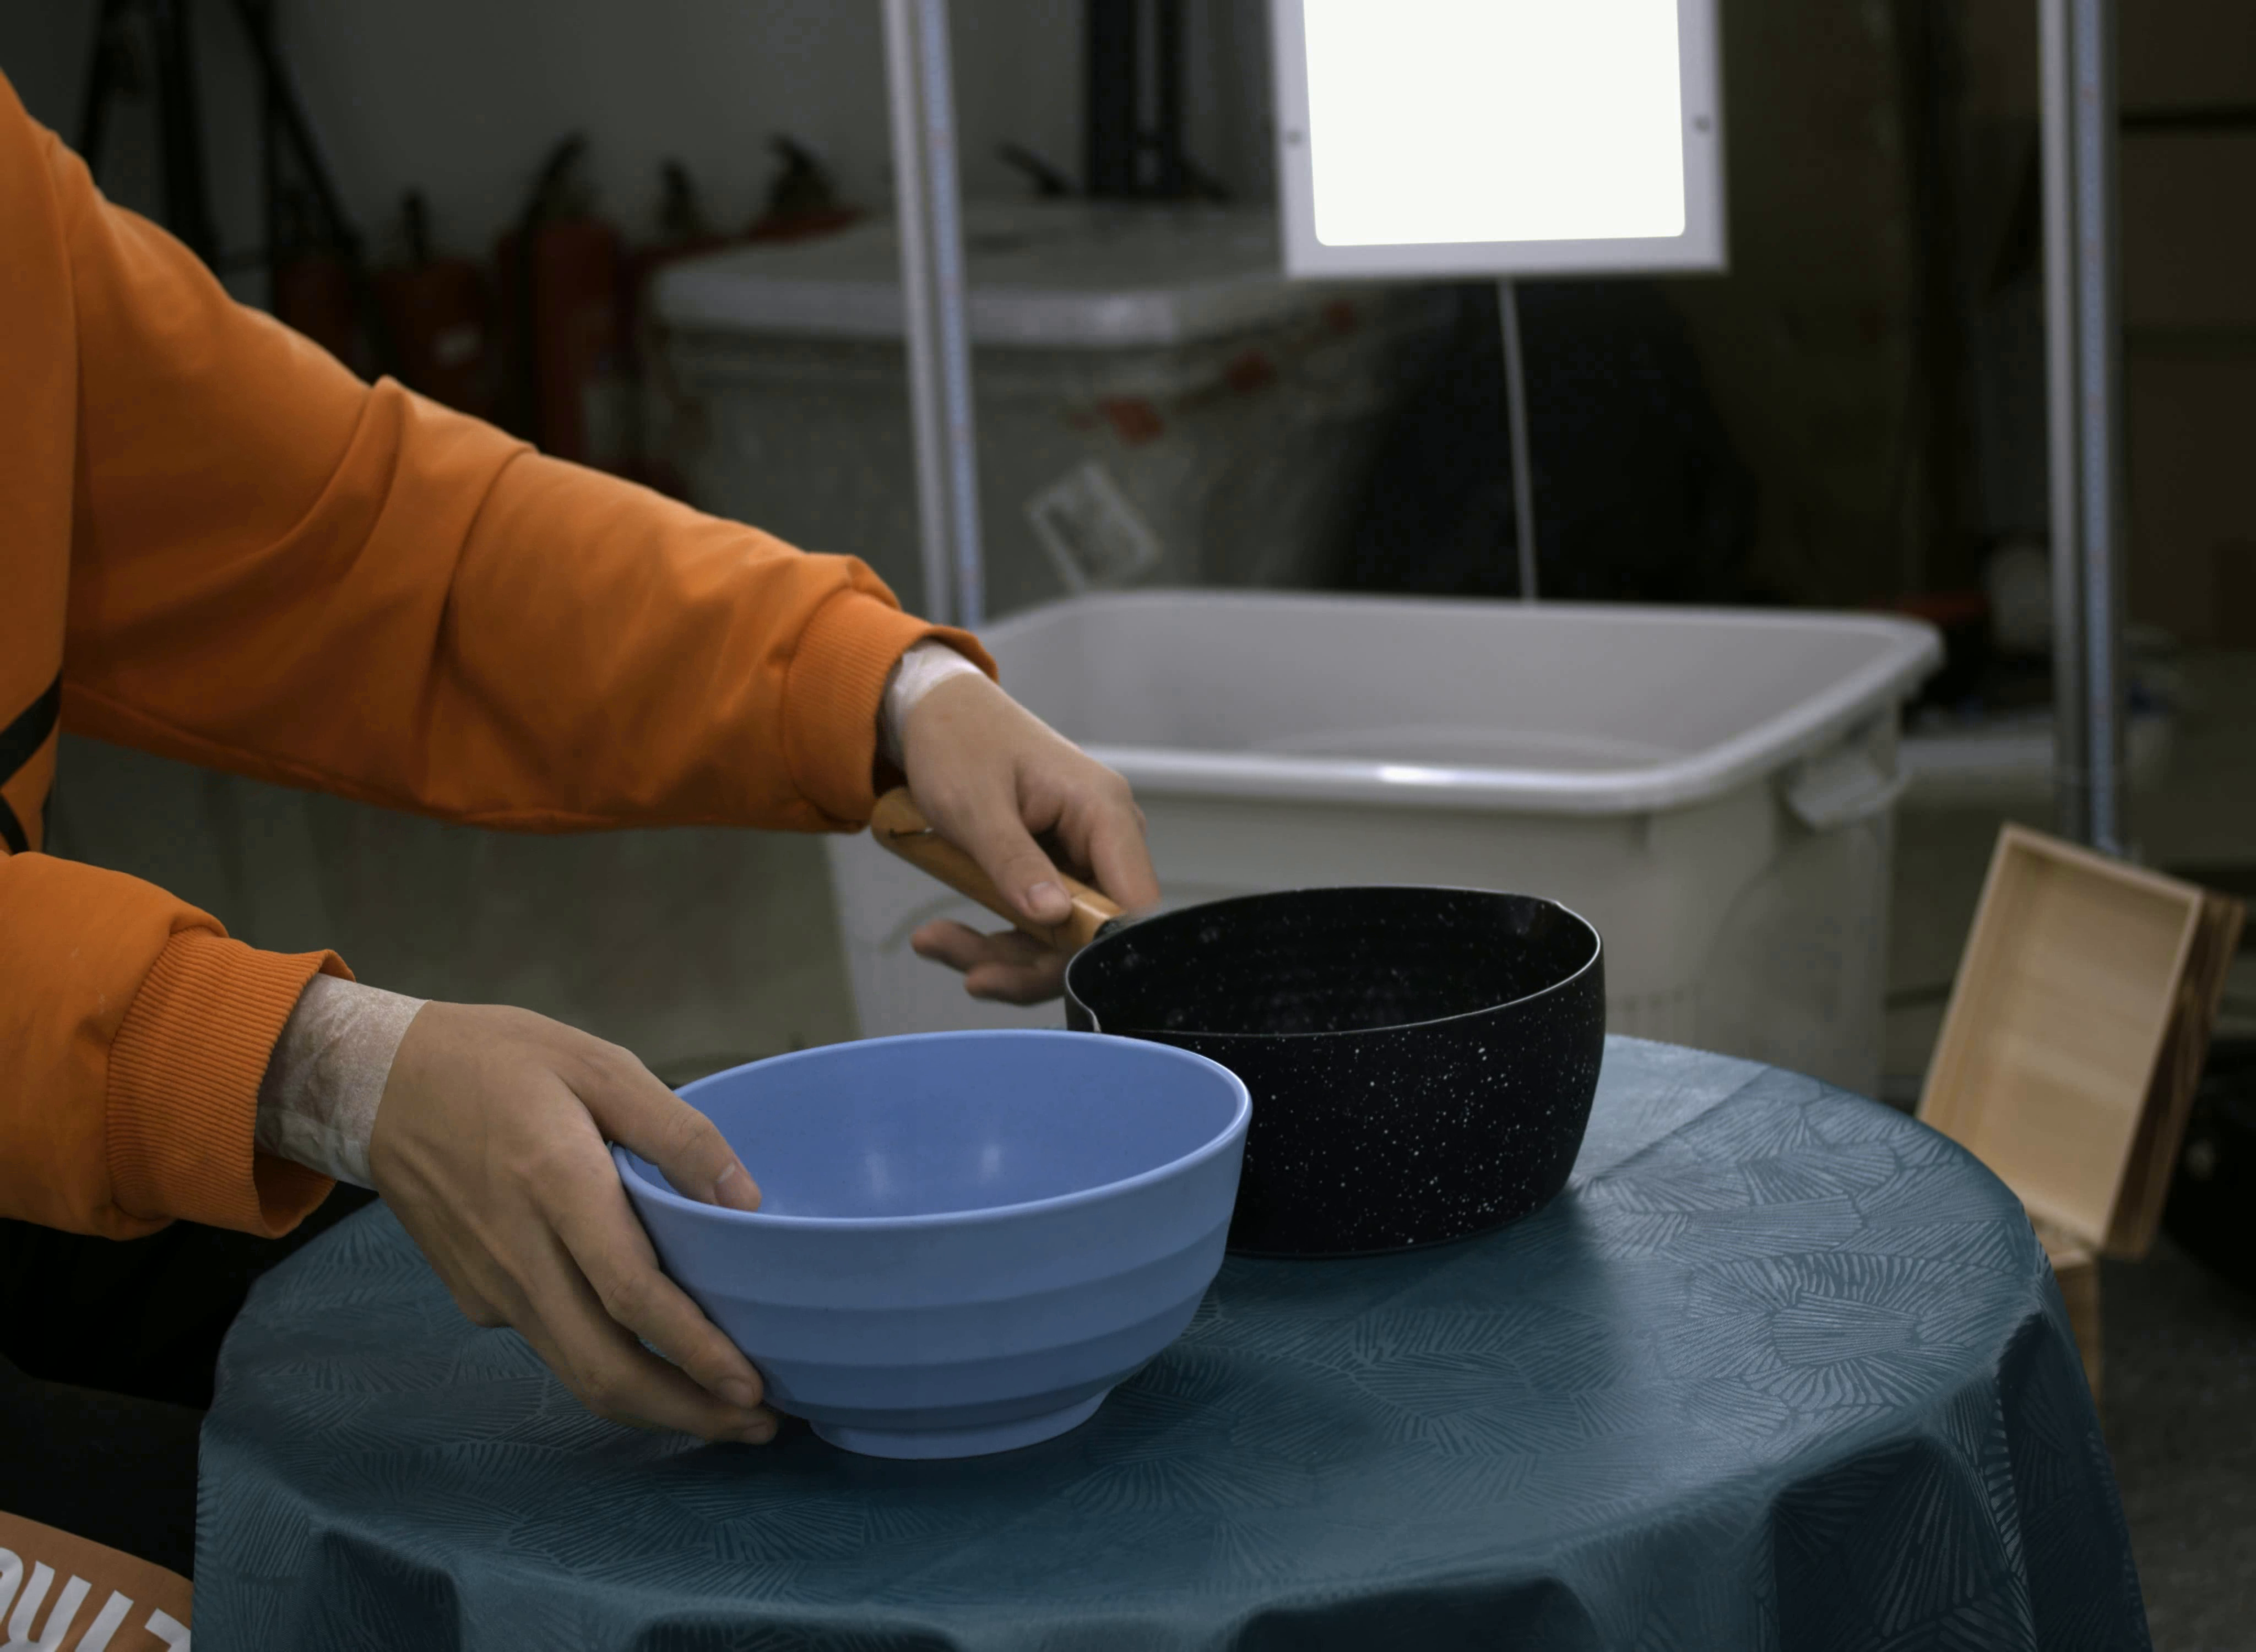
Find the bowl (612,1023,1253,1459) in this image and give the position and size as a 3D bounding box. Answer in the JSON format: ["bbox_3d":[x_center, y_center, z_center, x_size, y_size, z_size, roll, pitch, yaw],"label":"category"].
[{"bbox_3d":[-0.057,0.133,1.689,0.196,0.096,0.196,-4,15,0],"label":"bowl"}]

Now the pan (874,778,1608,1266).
[{"bbox_3d":[0.021,0.062,1.926,0.202,0.108,0.350,-17,19,-36],"label":"pan"}]
